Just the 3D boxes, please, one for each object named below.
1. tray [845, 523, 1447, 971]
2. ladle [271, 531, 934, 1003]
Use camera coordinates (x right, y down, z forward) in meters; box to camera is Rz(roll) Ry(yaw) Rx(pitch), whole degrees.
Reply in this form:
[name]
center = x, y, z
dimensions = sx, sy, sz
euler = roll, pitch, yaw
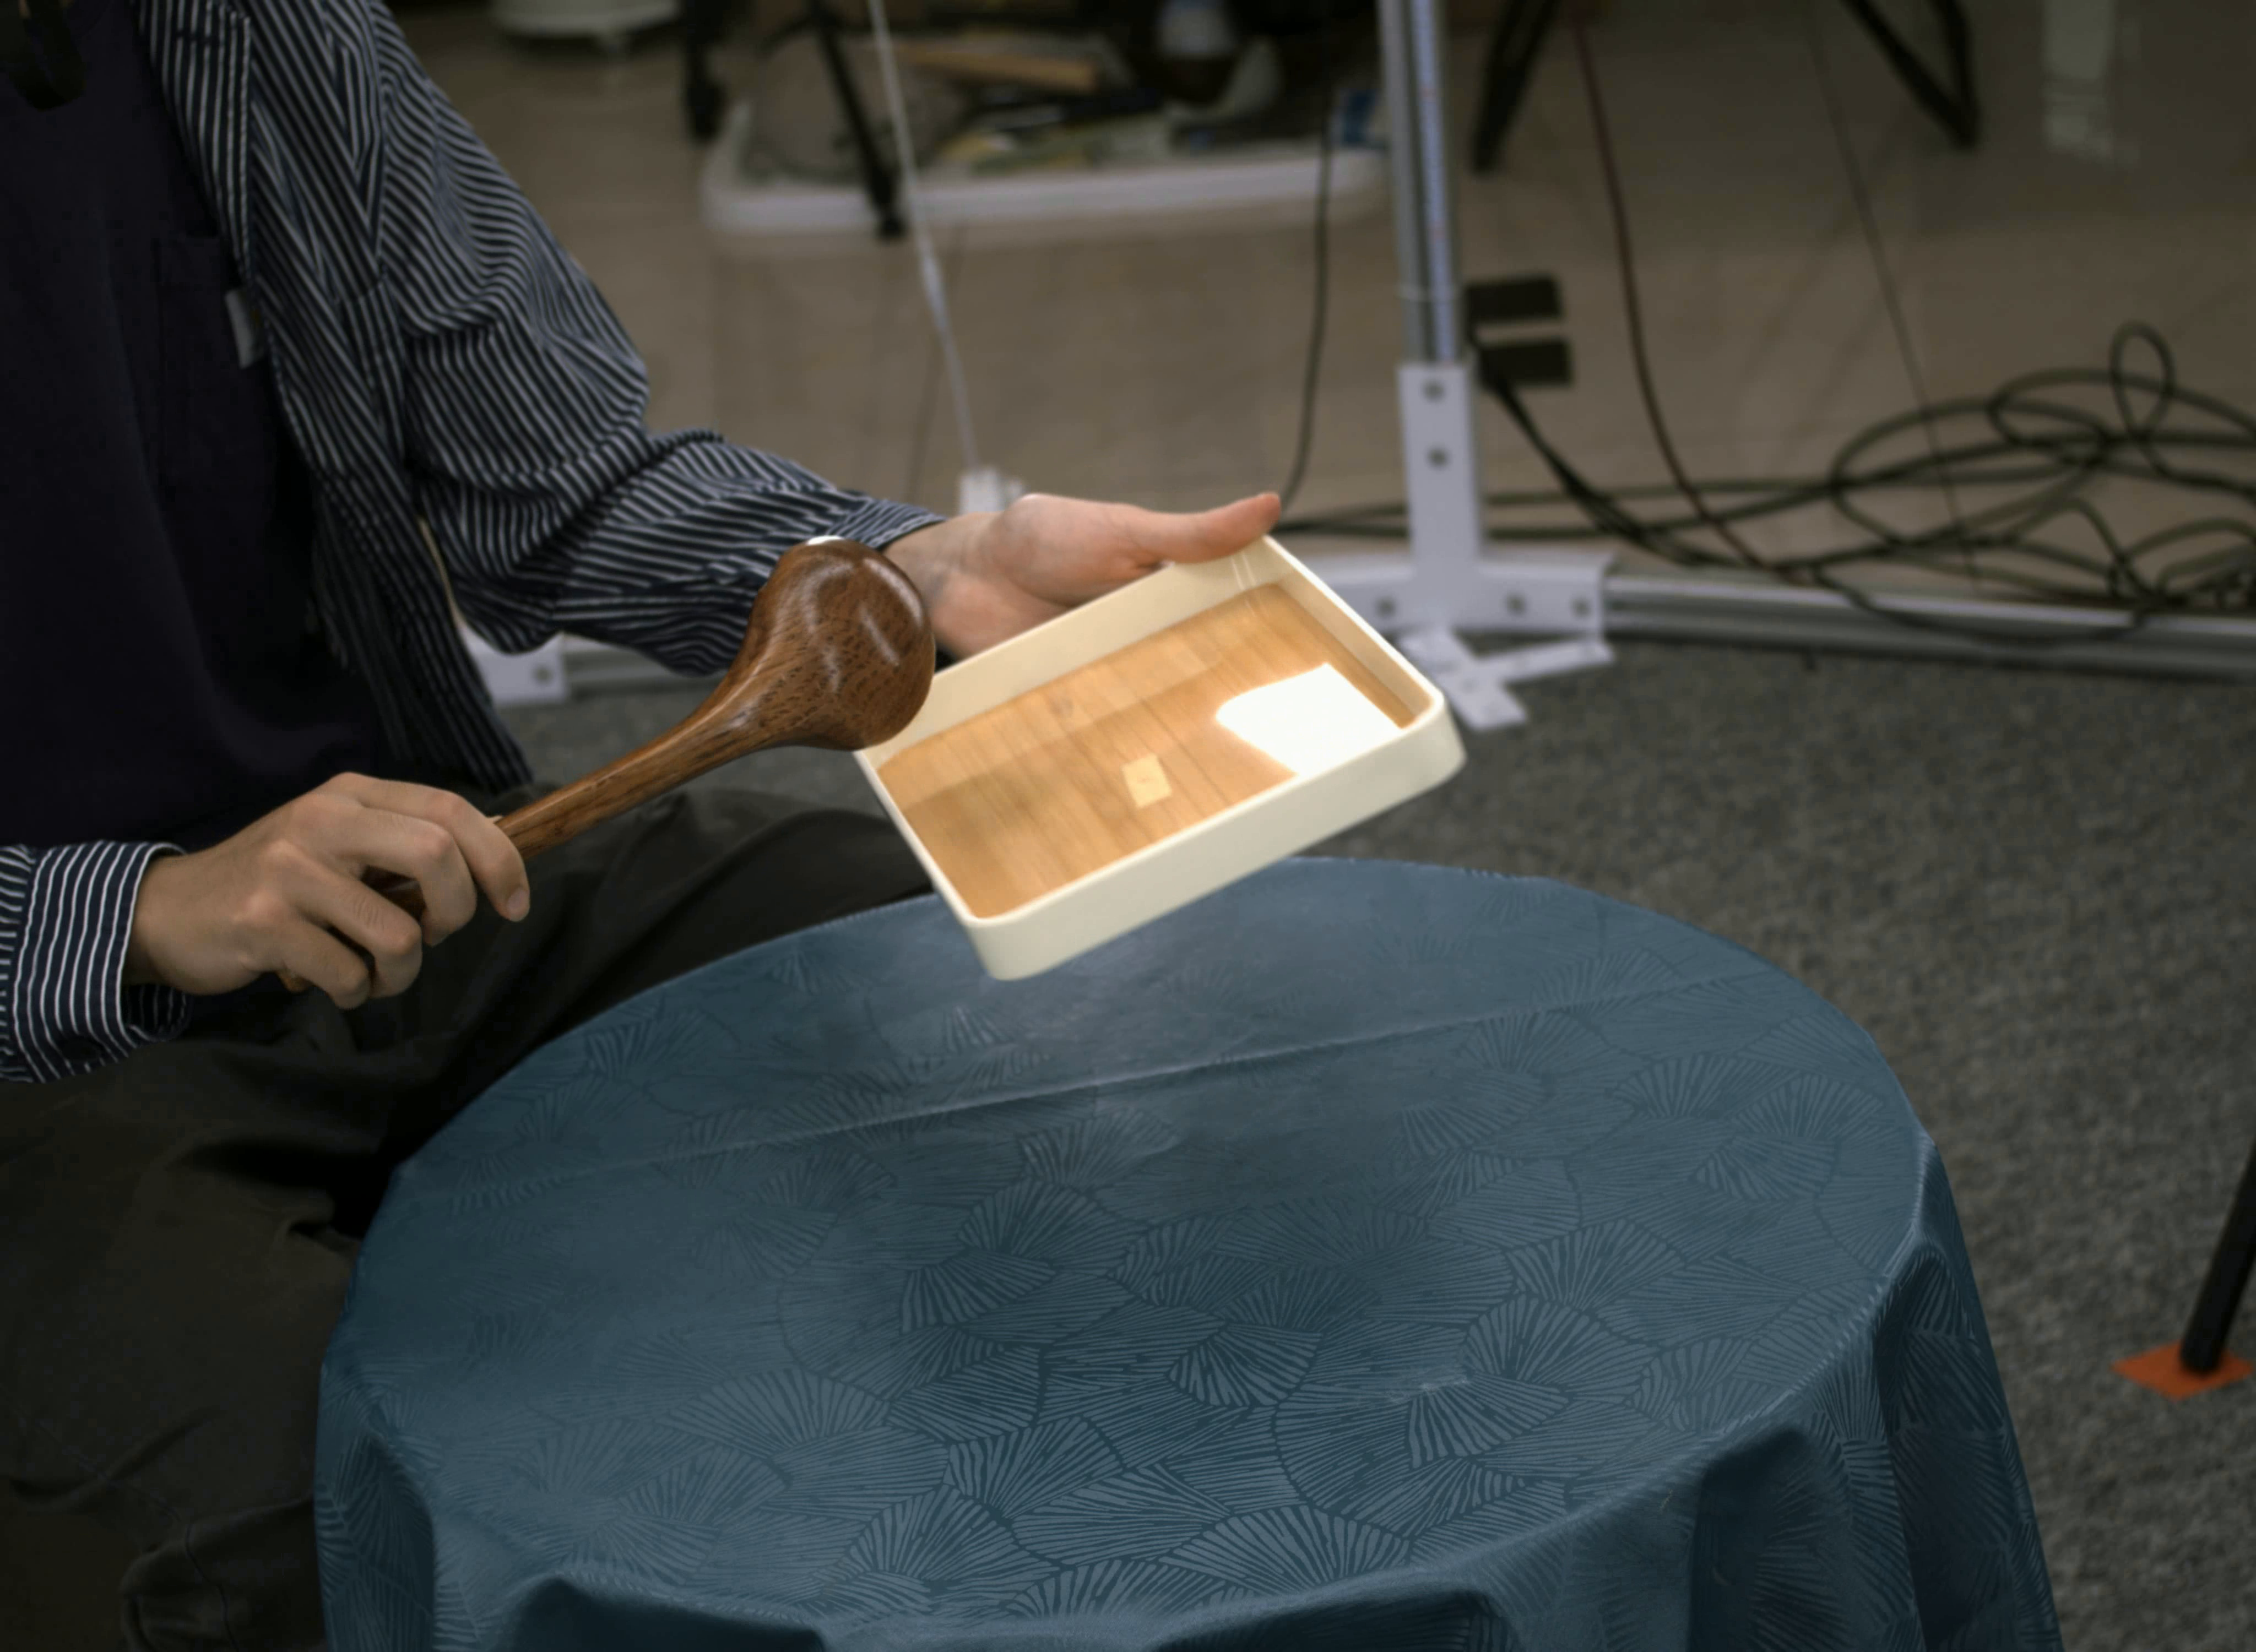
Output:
[tray]
center = 0.000, -0.035, 2.145
dimensions = 0.191, 0.028, 0.297
euler = -25, 19, -3
[ladle]
center = -0.198, -0.020, 2.113
dimensions = 0.274, 0.082, 0.076
euler = -29, 11, 7
